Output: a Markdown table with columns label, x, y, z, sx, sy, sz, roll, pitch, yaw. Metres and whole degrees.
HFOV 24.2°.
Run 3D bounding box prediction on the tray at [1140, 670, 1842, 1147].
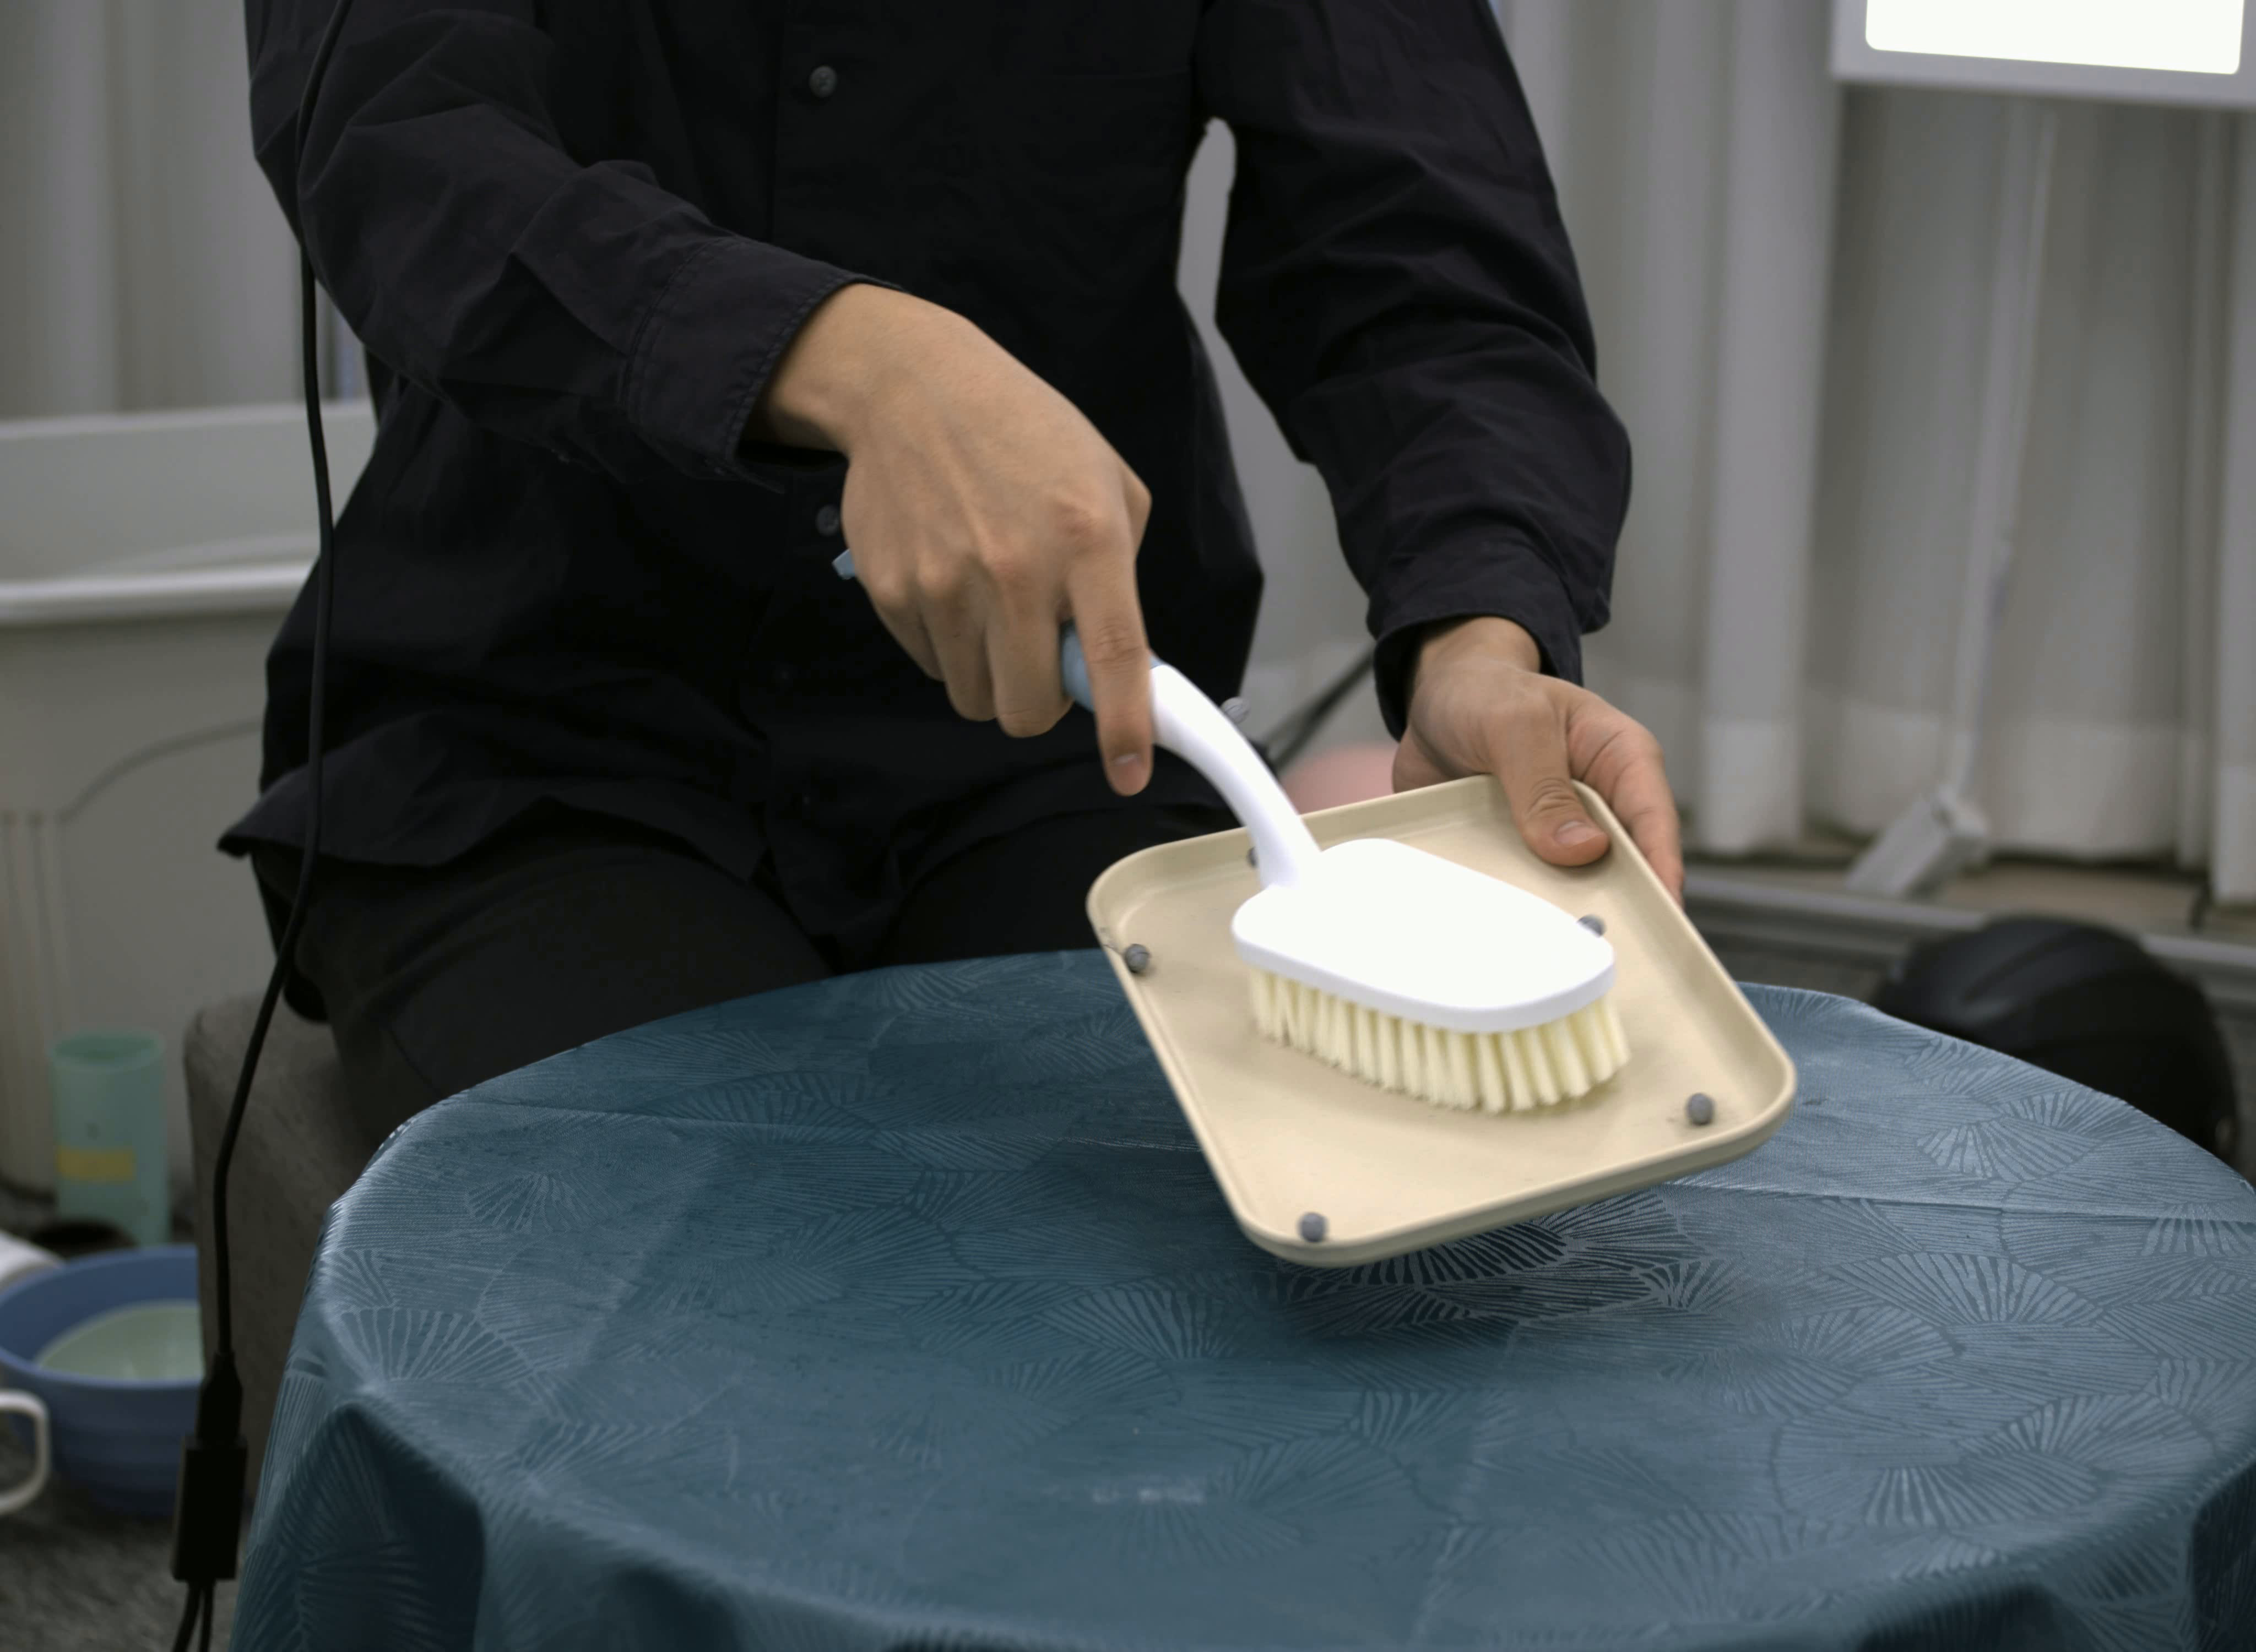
| label | x | y | z | sx | sy | sz | roll | pitch | yaw |
| --- | --- | --- | --- | --- | --- | --- | --- | --- | --- |
| tray | 0.108 | 0.023 | 1.623 | 0.171 | 0.018 | 0.237 | -13 | 30 | -9 |

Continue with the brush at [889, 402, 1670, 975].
| label | x | y | z | sx | sy | sz | roll | pitch | yaw |
| --- | --- | --- | --- | --- | --- | --- | --- | --- | --- |
| brush | 0.043 | -0.035 | 1.666 | 0.321 | 0.085 | 0.084 | 32 | 10 | 32 |
